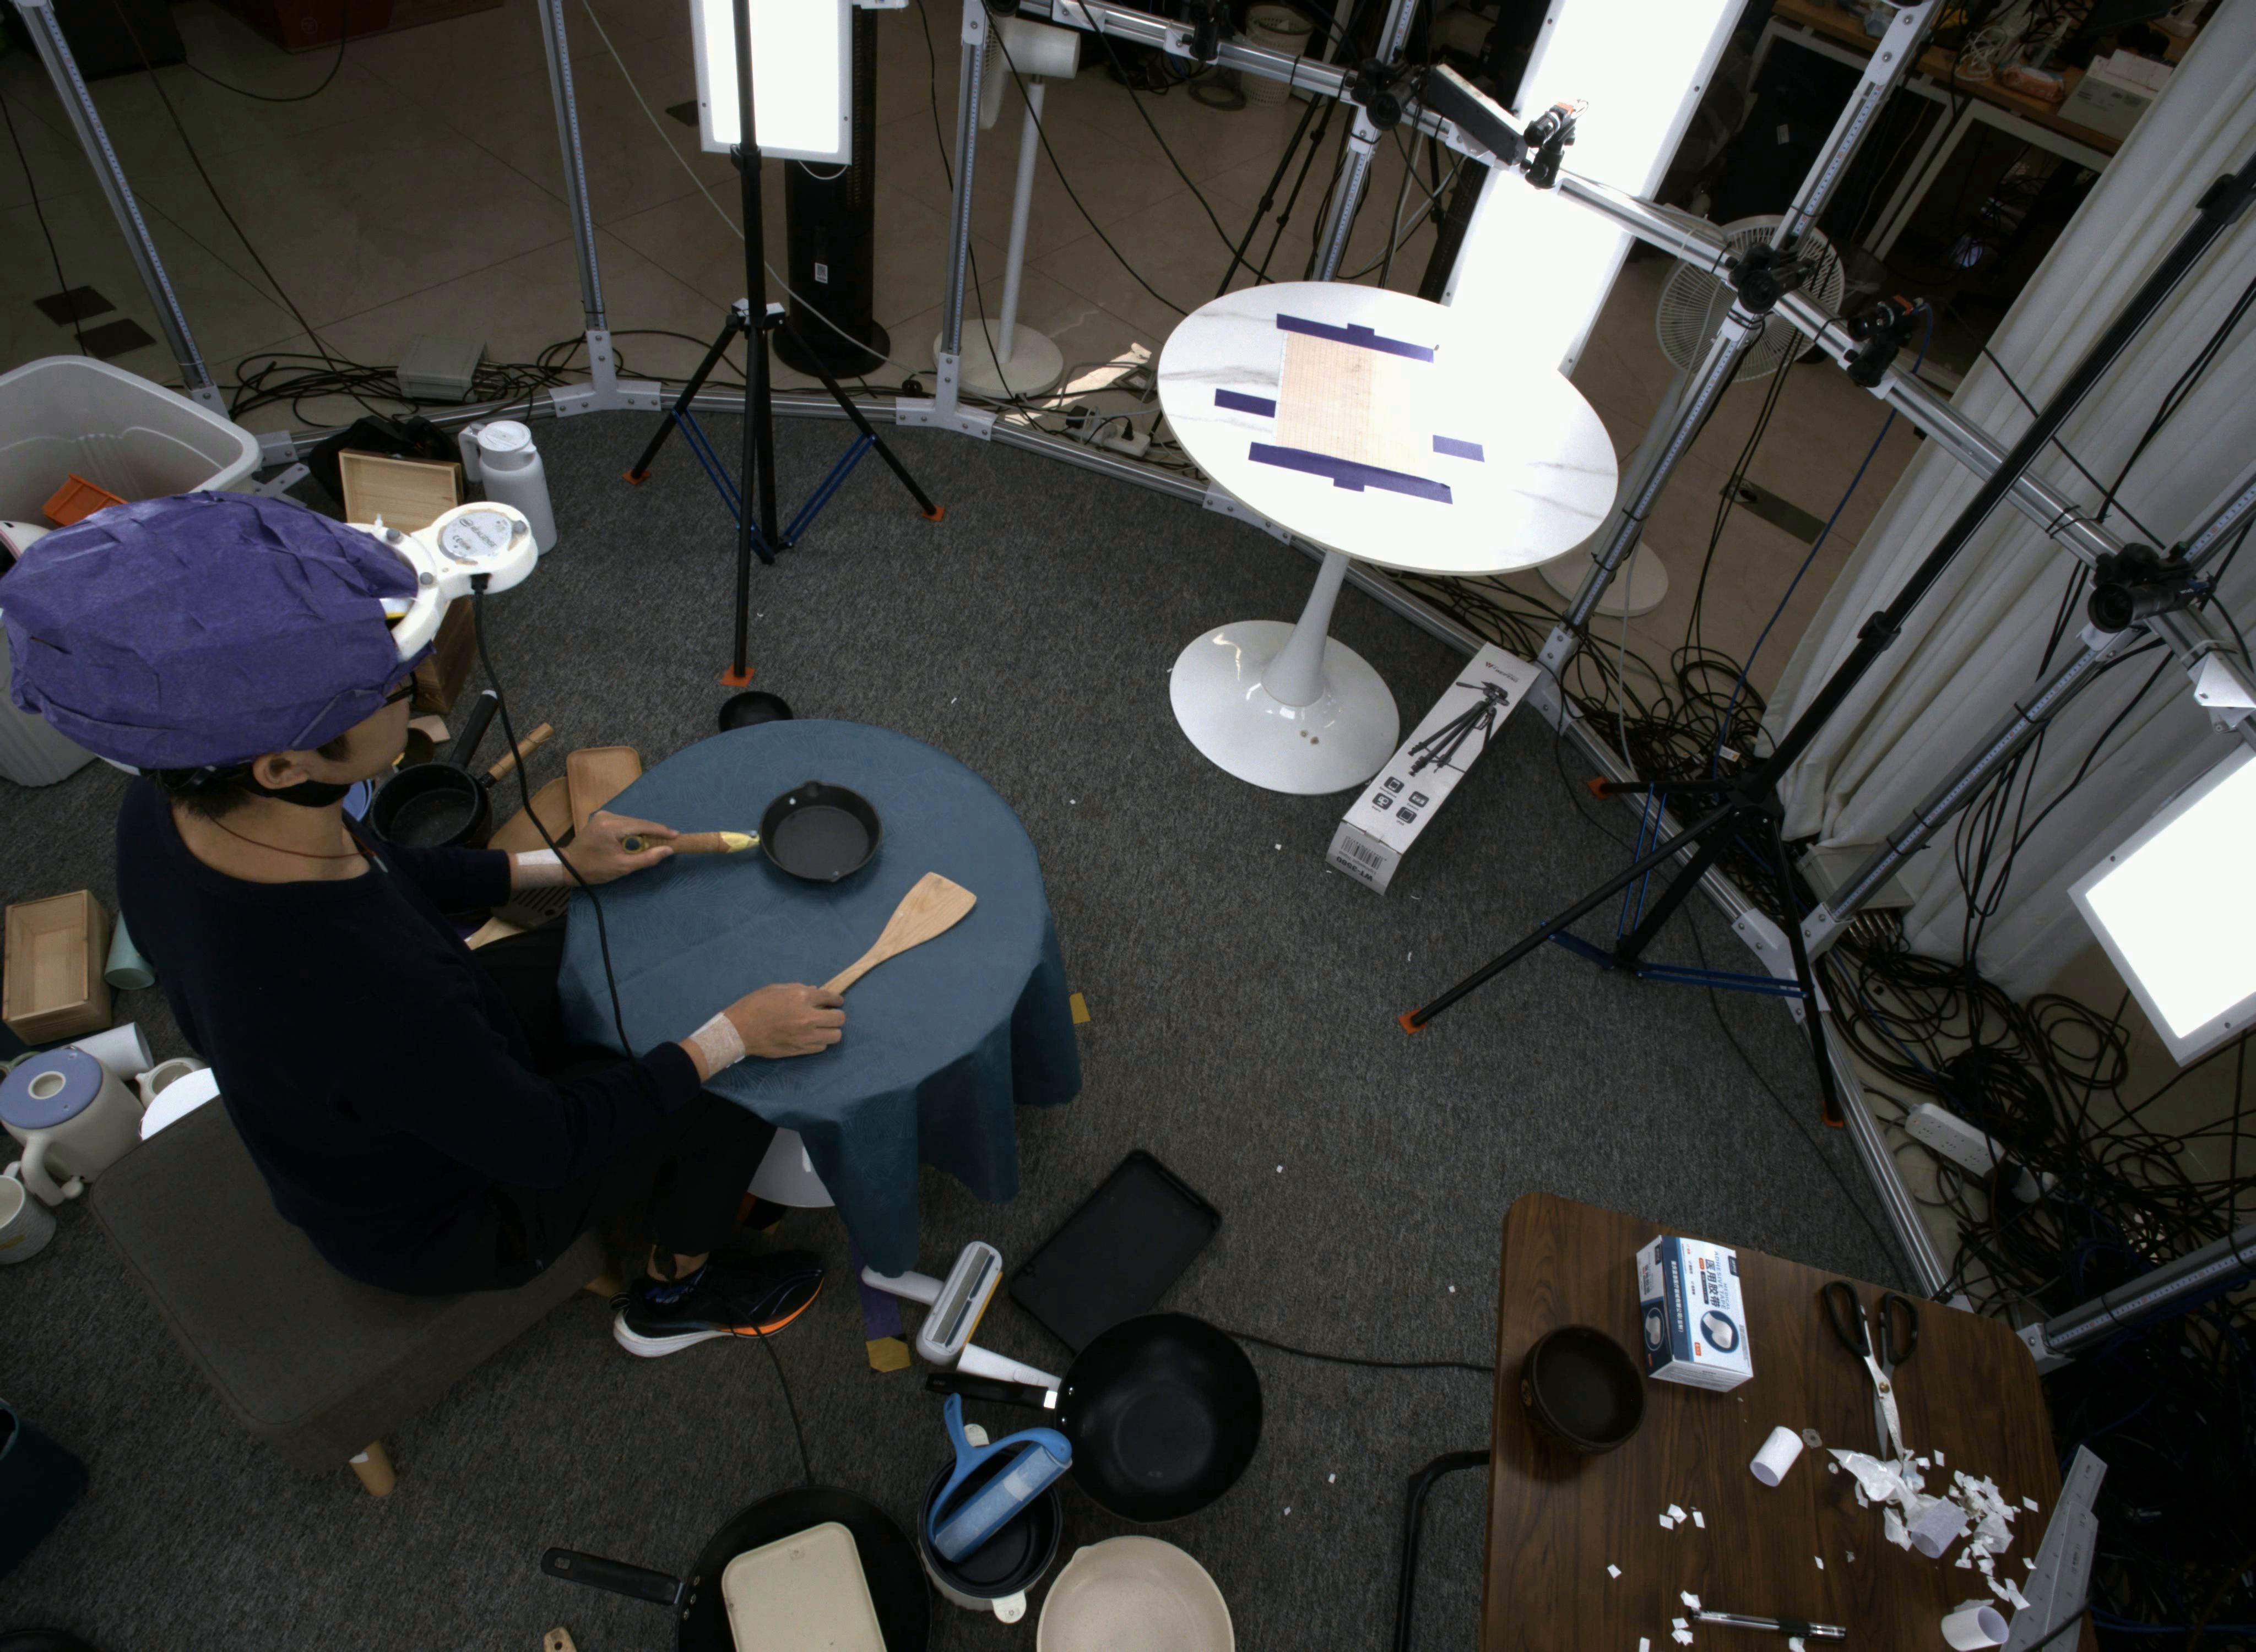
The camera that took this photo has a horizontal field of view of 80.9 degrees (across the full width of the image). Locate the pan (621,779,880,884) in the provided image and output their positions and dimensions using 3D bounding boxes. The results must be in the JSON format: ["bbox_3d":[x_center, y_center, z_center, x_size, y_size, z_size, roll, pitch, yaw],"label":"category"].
[{"bbox_3d":[-0.481,0.016,1.654,0.326,0.050,0.165,-5,55,-20],"label":"pan"}]

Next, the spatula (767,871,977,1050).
[{"bbox_3d":[-0.321,0.162,1.608,0.078,0.017,0.327,37,53,14],"label":"spatula"}]
